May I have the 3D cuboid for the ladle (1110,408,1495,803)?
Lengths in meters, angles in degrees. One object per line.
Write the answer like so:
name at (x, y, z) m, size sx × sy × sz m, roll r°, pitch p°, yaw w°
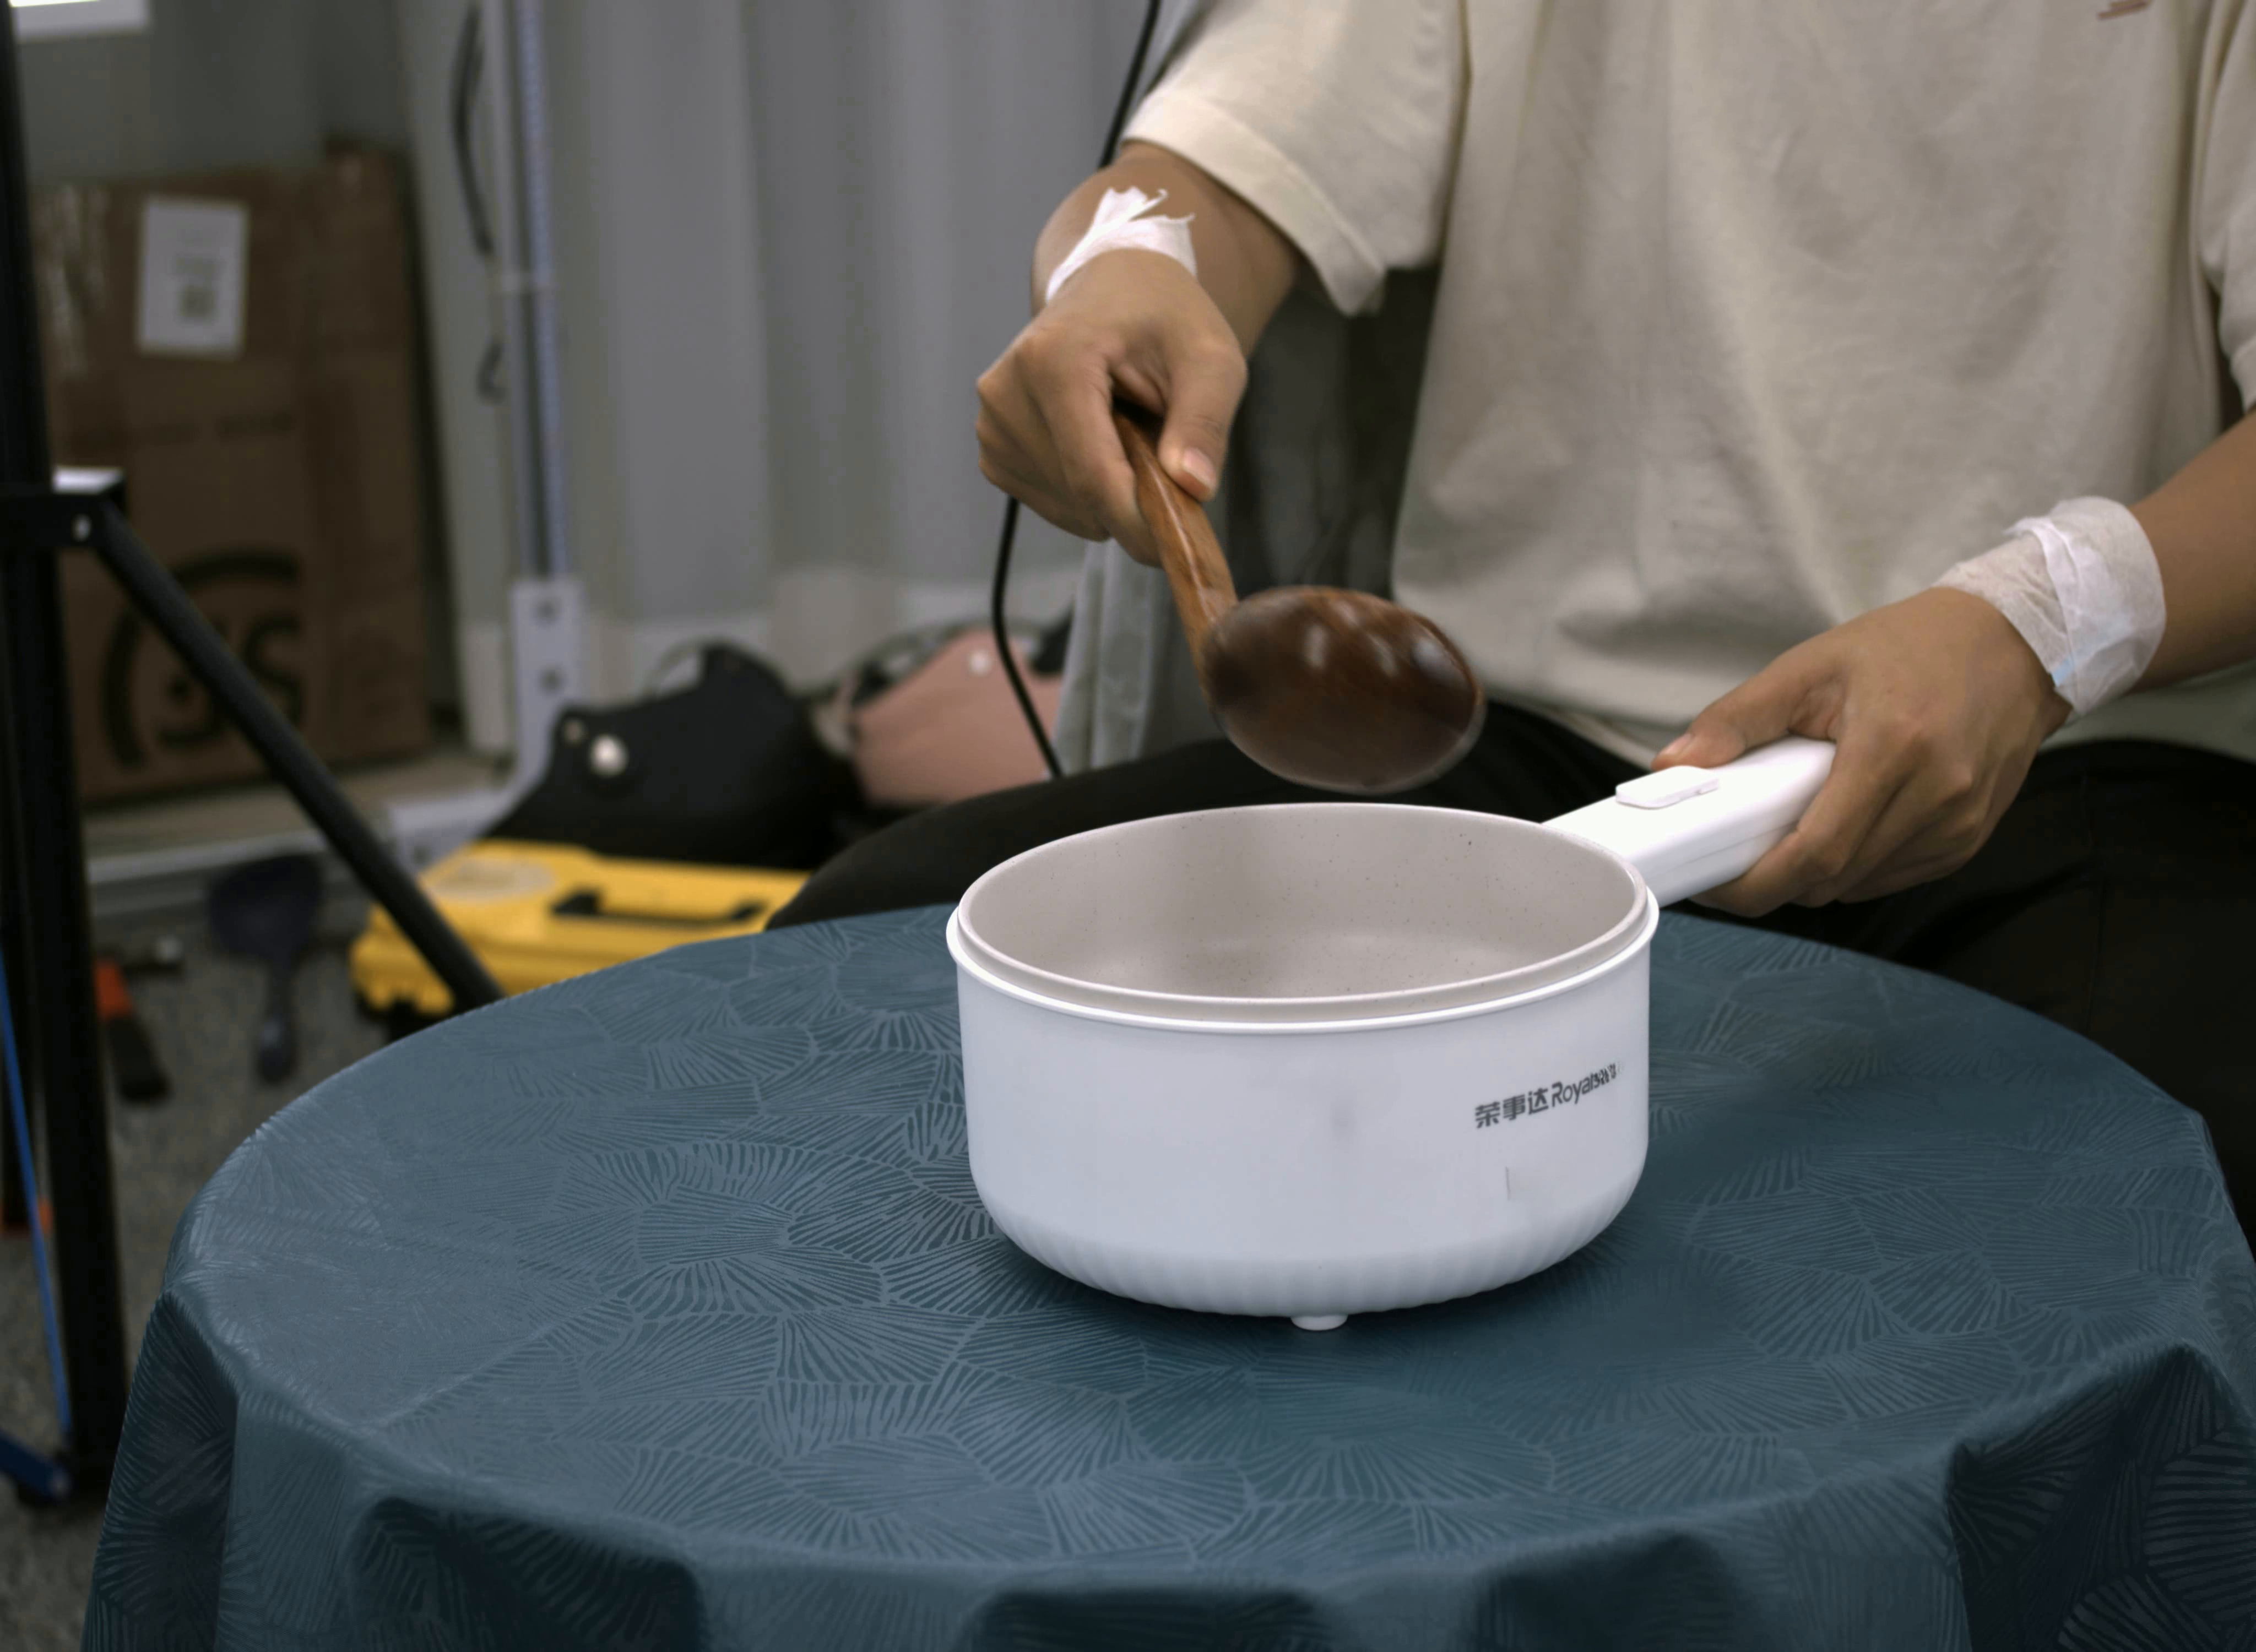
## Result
ladle at (0.044, -0.086, 1.579) m, size 0.077 × 0.080 × 0.277 m, roll -42°, pitch 26°, yaw 13°

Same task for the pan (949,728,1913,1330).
pan at (0.105, 0.053, 1.553) m, size 0.346 × 0.102 × 0.206 m, roll -16°, pitch 19°, yaw -41°
